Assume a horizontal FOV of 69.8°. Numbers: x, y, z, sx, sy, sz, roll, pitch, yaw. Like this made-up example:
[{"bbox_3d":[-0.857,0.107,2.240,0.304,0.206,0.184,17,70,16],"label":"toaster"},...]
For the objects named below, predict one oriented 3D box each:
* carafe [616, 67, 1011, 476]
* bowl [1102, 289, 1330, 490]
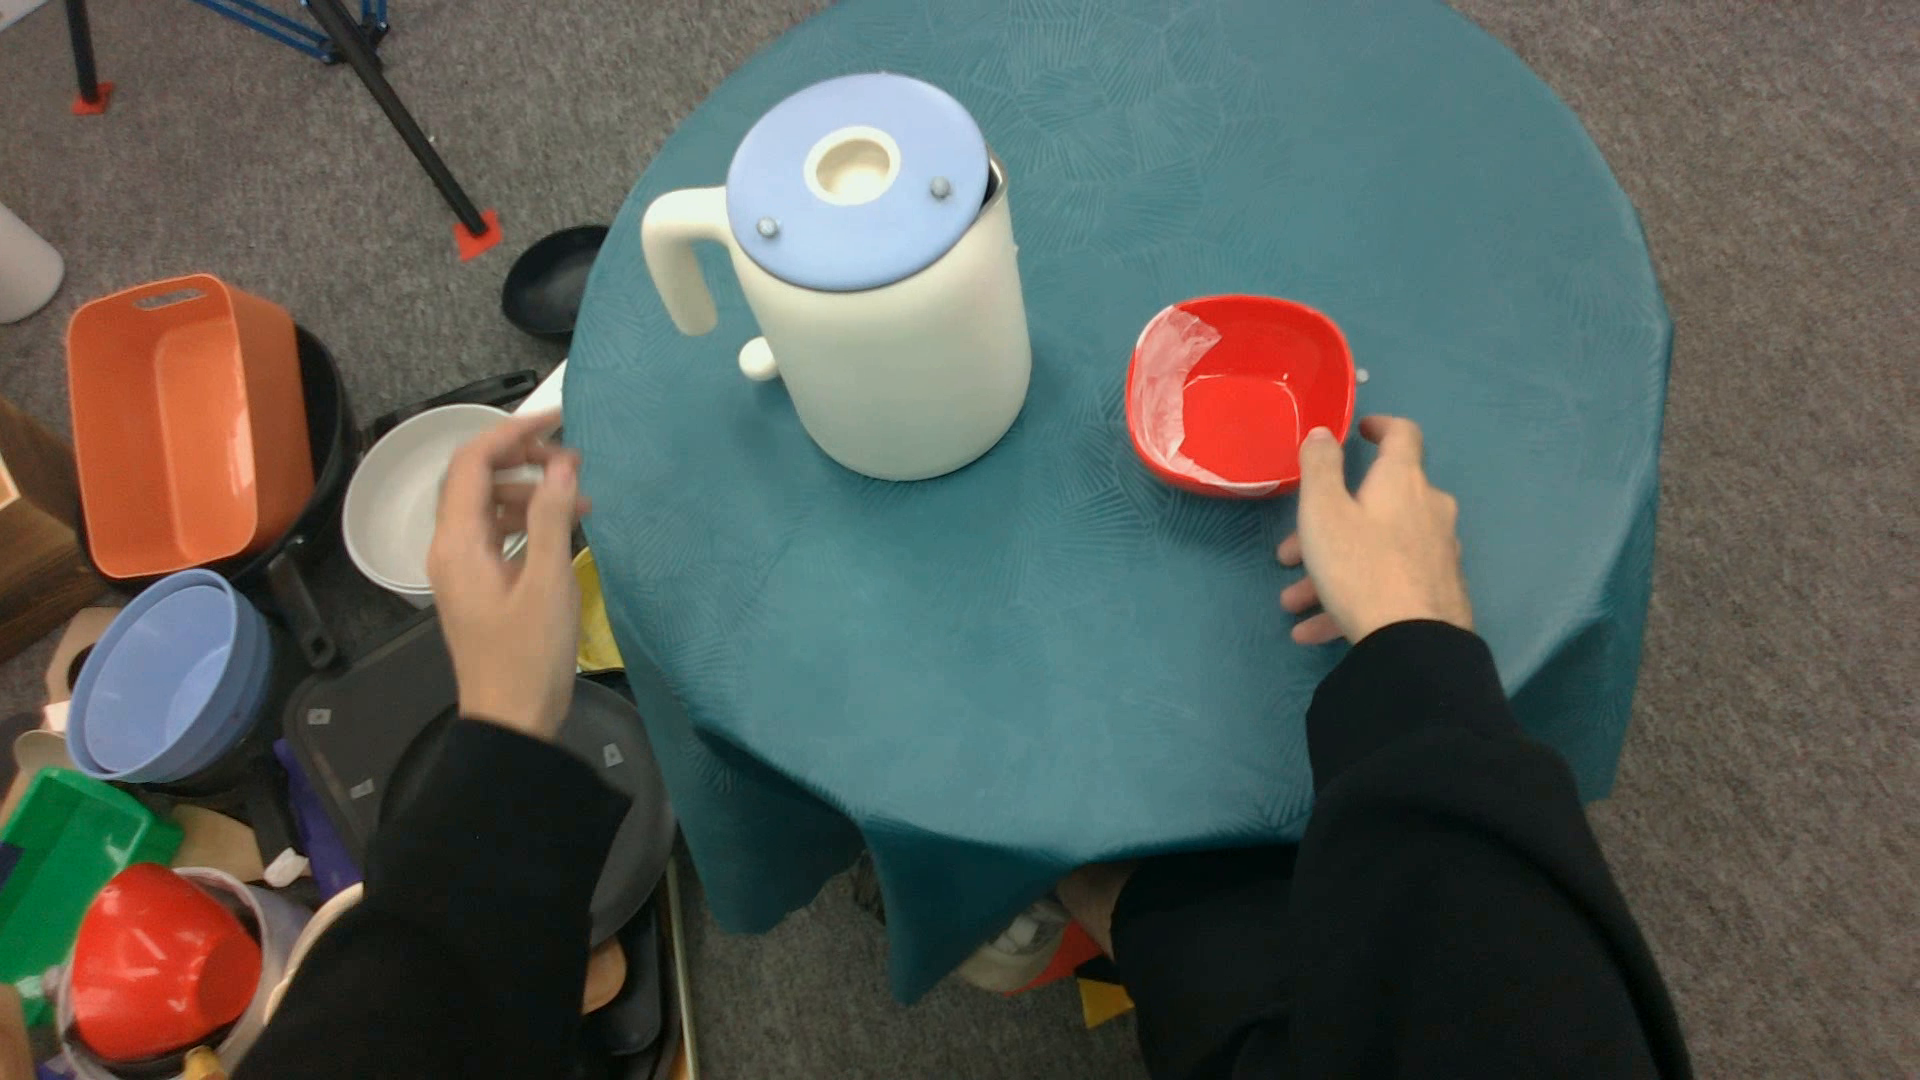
[{"bbox_3d":[-0.071,-0.126,0.682,0.191,0.182,0.133,0,63,9],"label":"carafe"},{"bbox_3d":[0.127,-0.067,0.694,0.119,0.051,0.119,-2,62,3],"label":"bowl"}]
